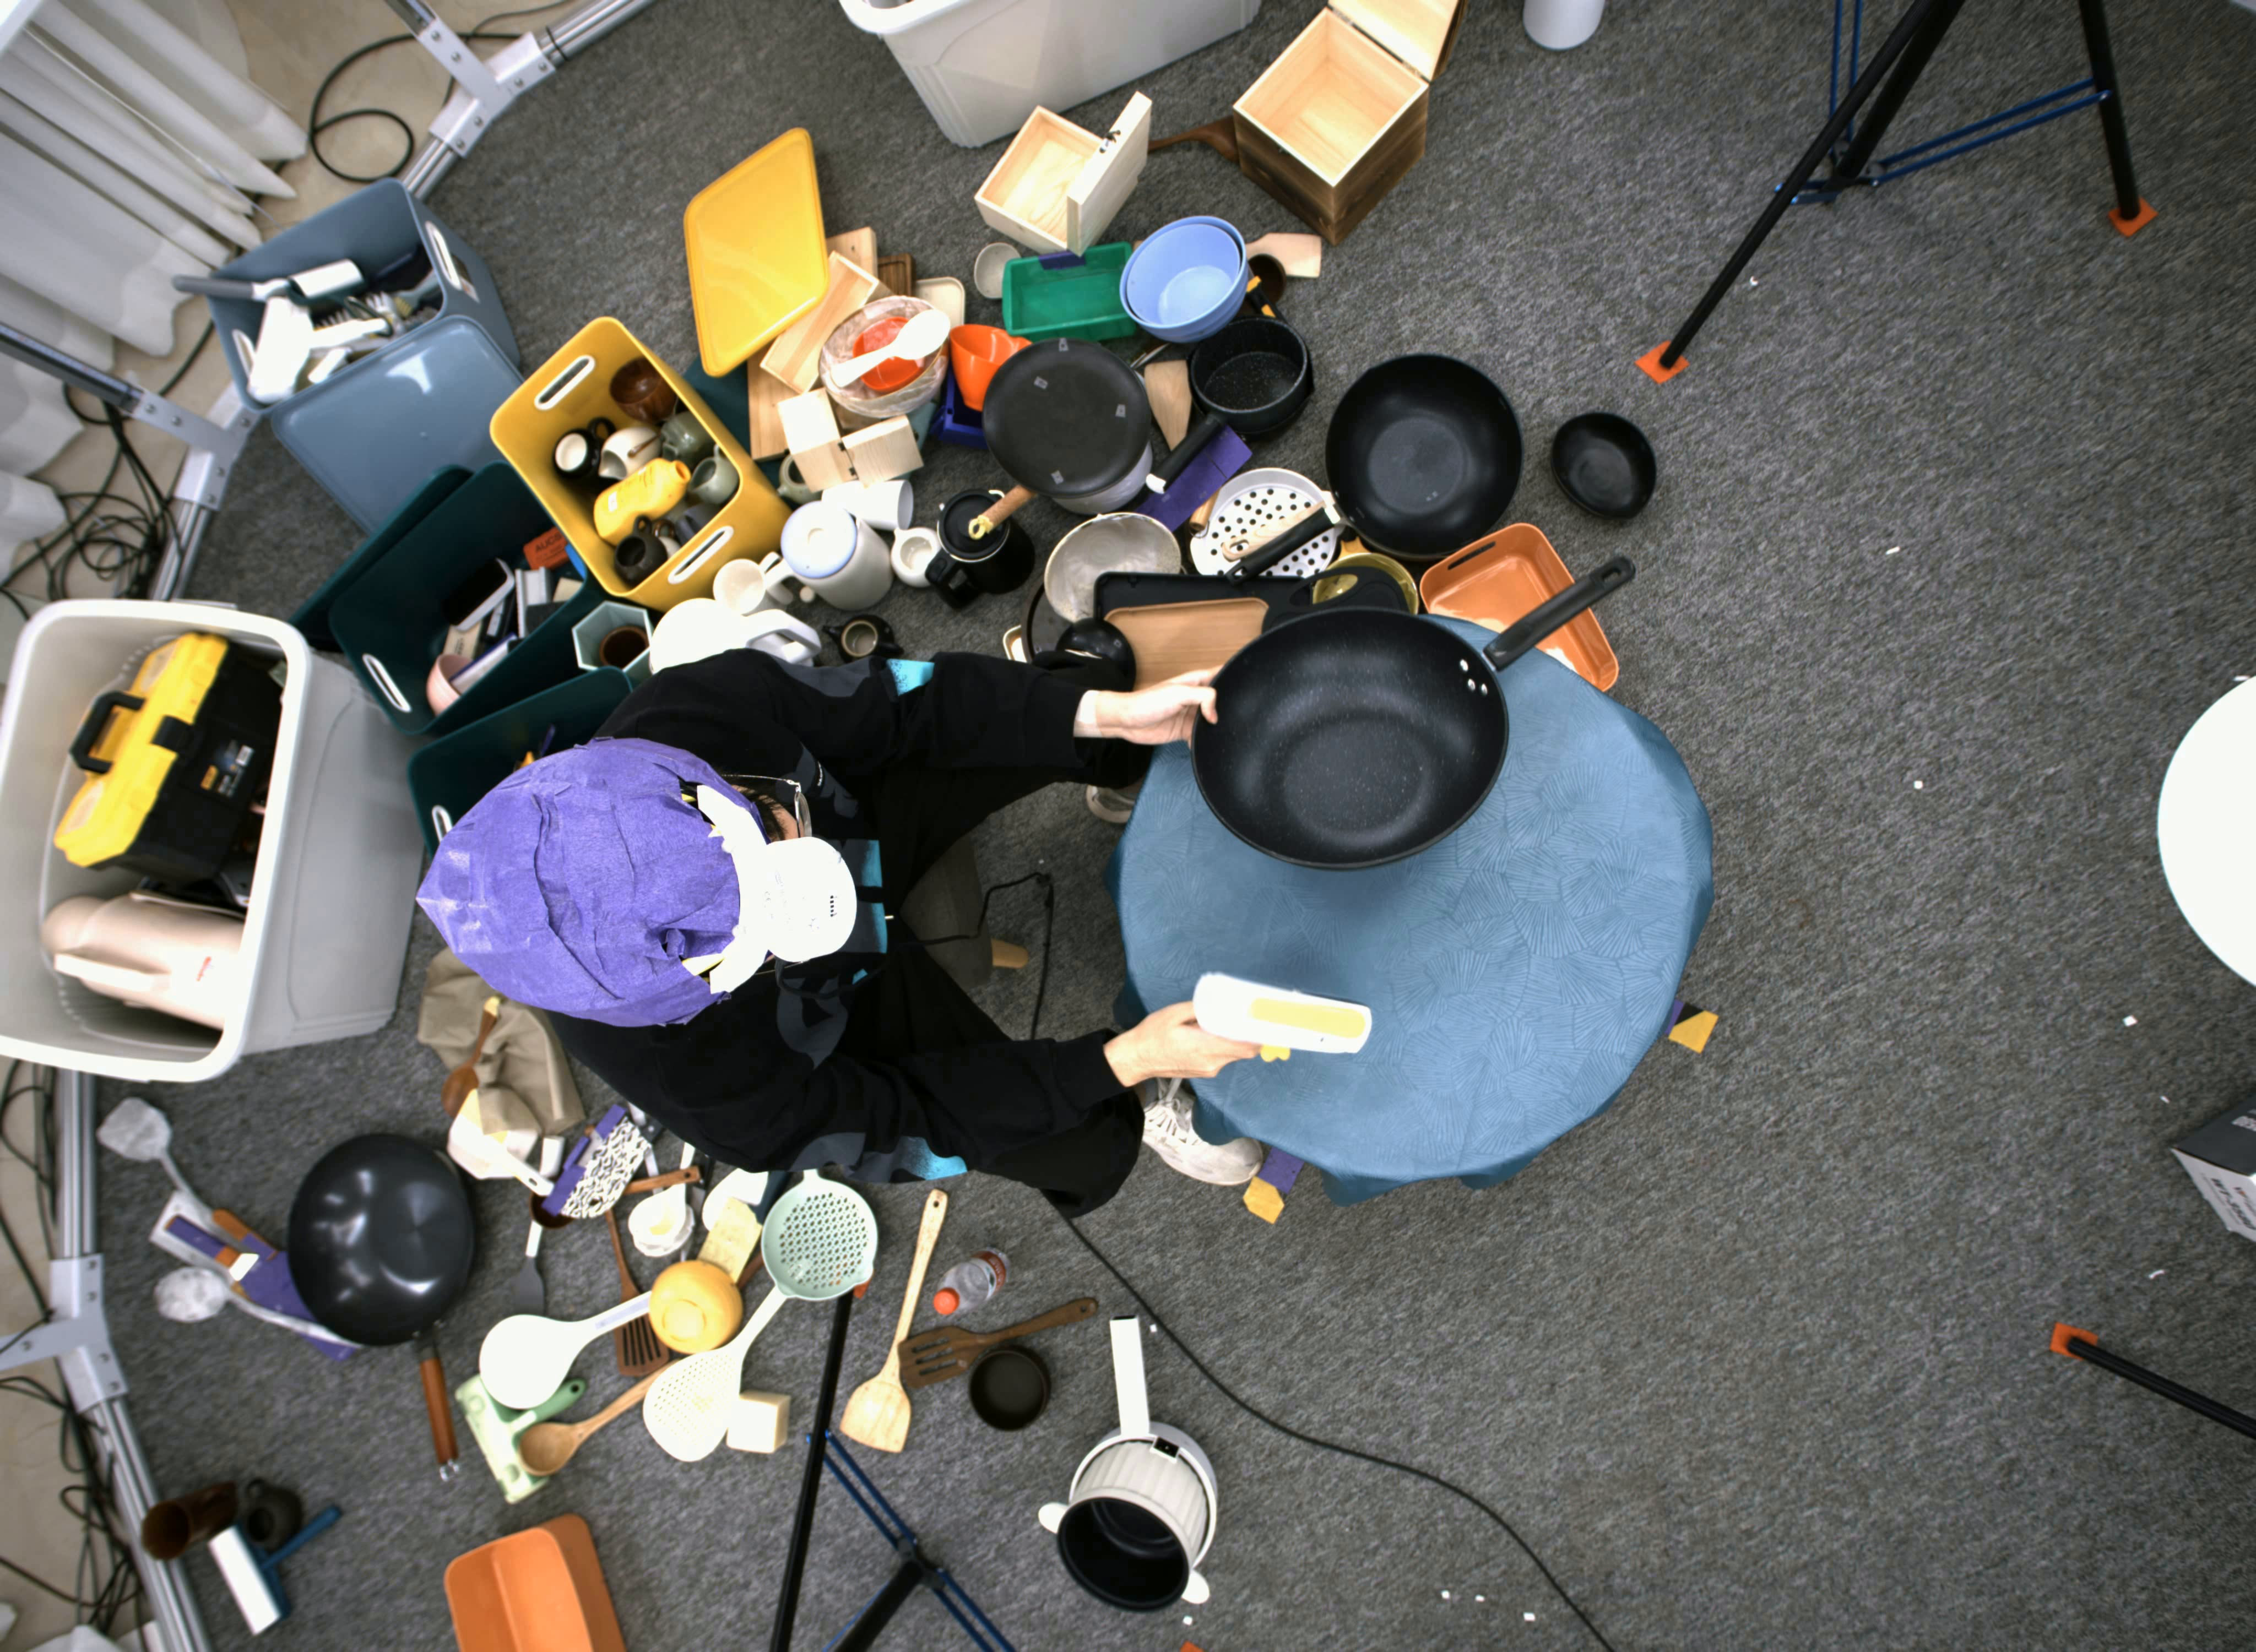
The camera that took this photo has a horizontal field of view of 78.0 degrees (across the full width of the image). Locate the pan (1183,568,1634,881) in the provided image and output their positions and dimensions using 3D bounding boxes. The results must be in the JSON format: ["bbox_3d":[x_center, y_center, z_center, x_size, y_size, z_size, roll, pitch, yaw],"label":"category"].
[{"bbox_3d":[0.286,-0.113,1.357,0.477,0.113,0.304,-28,58,-1],"label":"pan"}]

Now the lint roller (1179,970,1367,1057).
[{"bbox_3d":[0.112,0.191,1.362,0.192,0.195,0.073,11,76,-27],"label":"lint roller"}]
